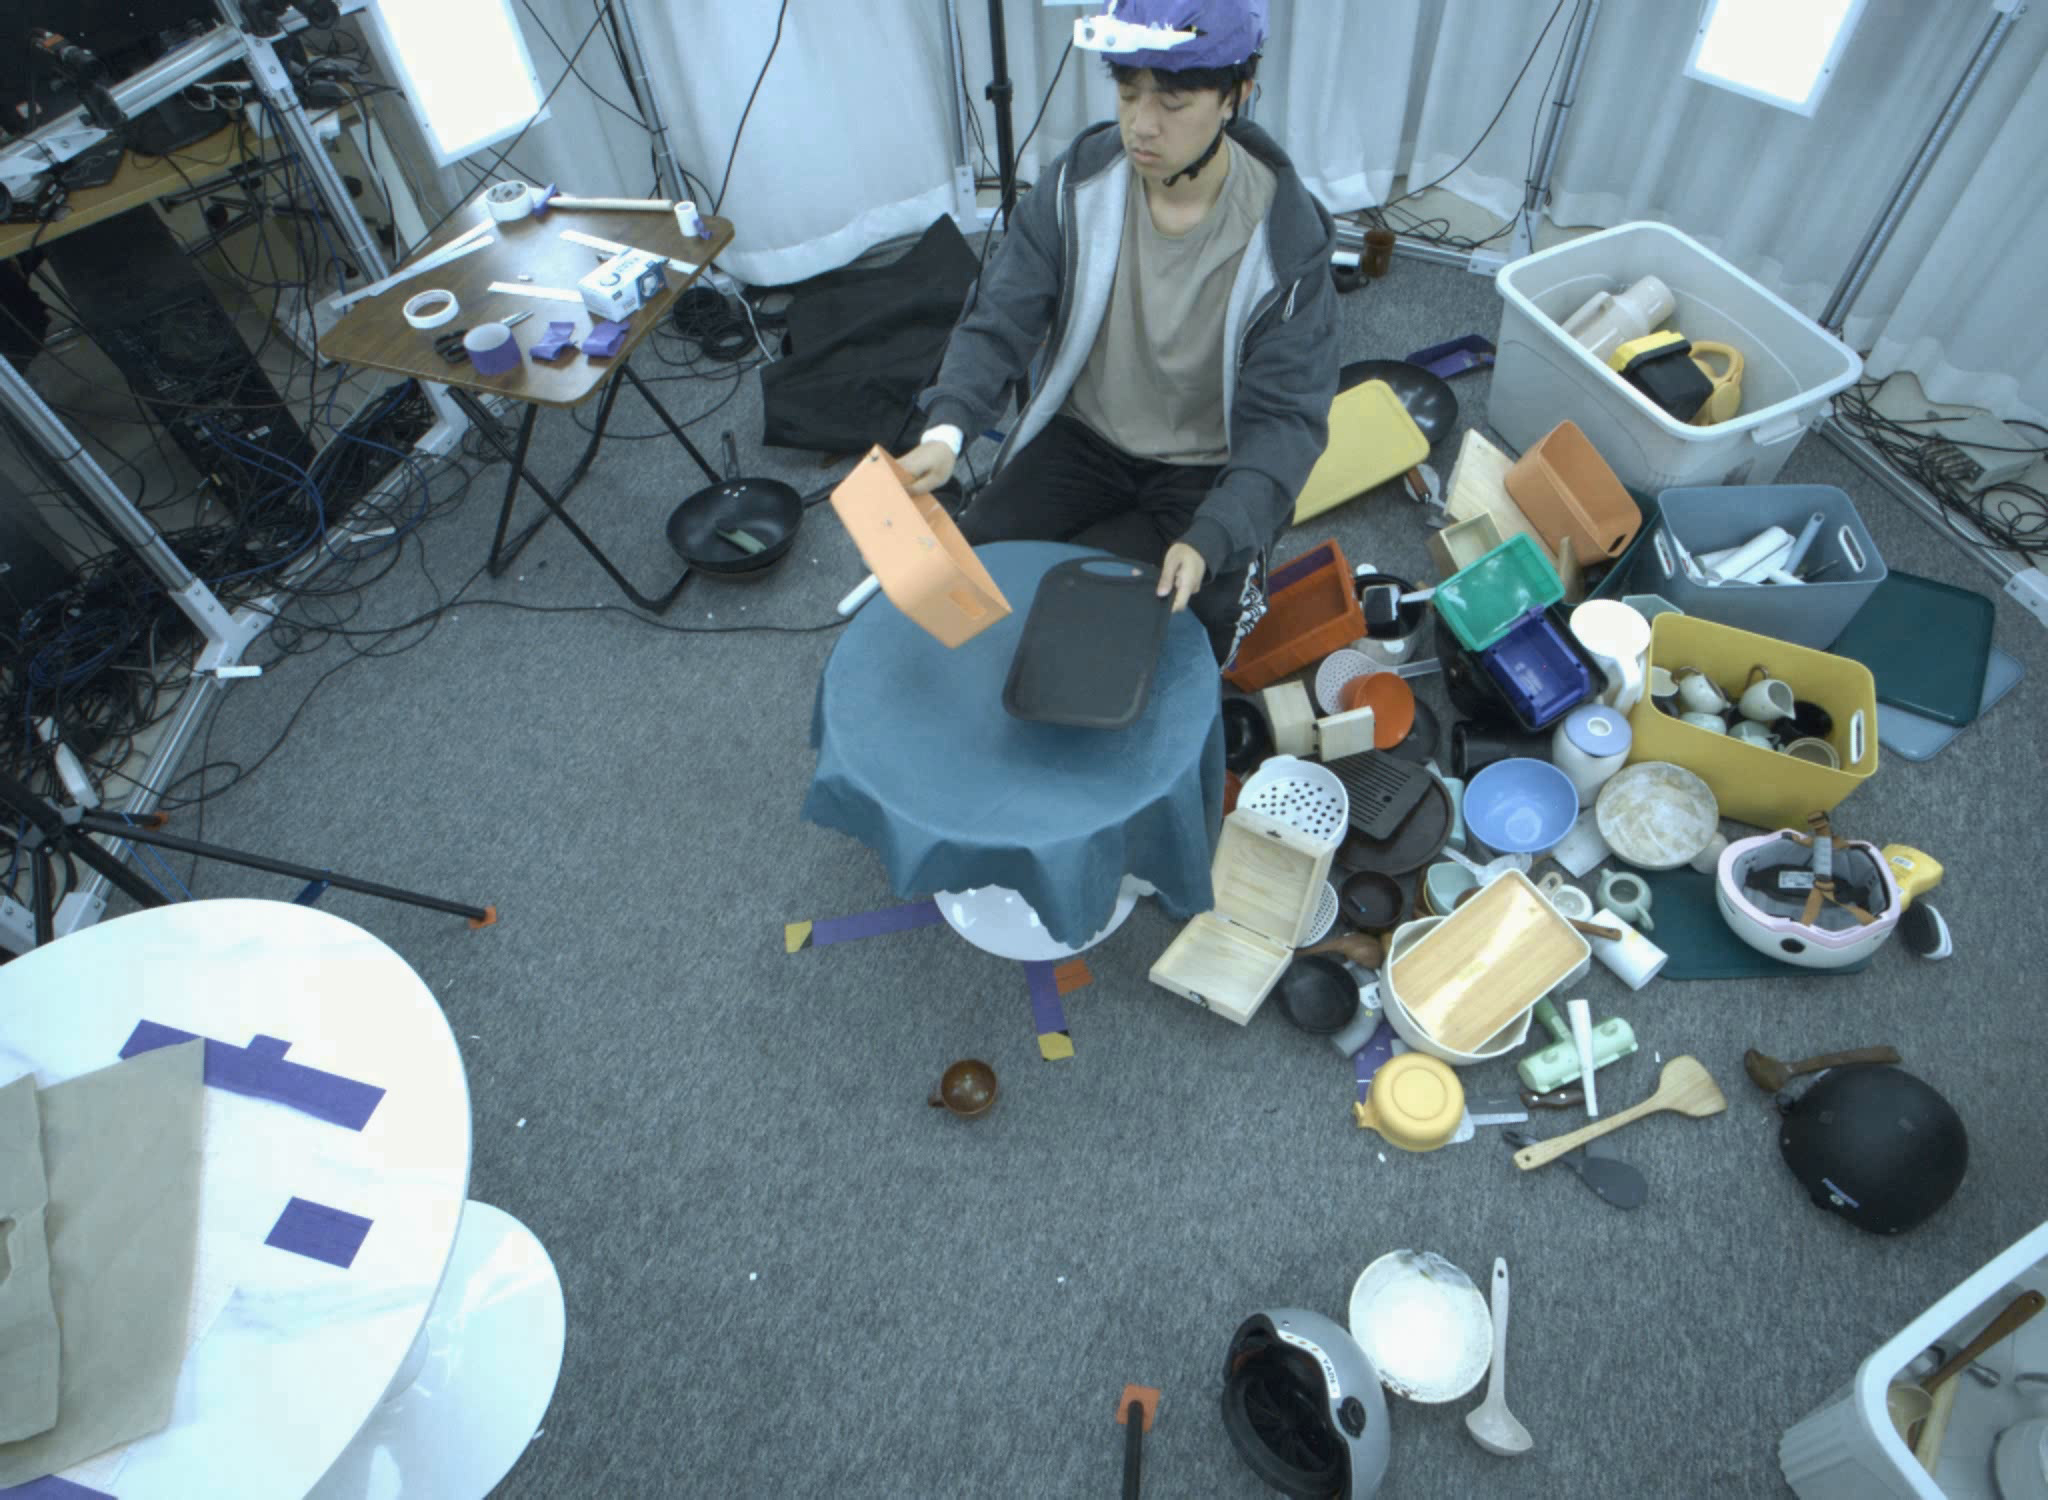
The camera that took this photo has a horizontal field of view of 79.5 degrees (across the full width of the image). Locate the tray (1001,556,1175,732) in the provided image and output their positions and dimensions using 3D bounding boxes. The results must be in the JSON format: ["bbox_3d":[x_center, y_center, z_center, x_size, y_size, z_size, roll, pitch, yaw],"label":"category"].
[{"bbox_3d":[0.097,-0.165,1.790,0.209,0.010,0.324,8,57,14],"label":"tray"}]

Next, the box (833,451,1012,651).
[{"bbox_3d":[-0.148,-0.271,1.683,0.102,0.204,0.268,-39,59,12],"label":"box"}]
